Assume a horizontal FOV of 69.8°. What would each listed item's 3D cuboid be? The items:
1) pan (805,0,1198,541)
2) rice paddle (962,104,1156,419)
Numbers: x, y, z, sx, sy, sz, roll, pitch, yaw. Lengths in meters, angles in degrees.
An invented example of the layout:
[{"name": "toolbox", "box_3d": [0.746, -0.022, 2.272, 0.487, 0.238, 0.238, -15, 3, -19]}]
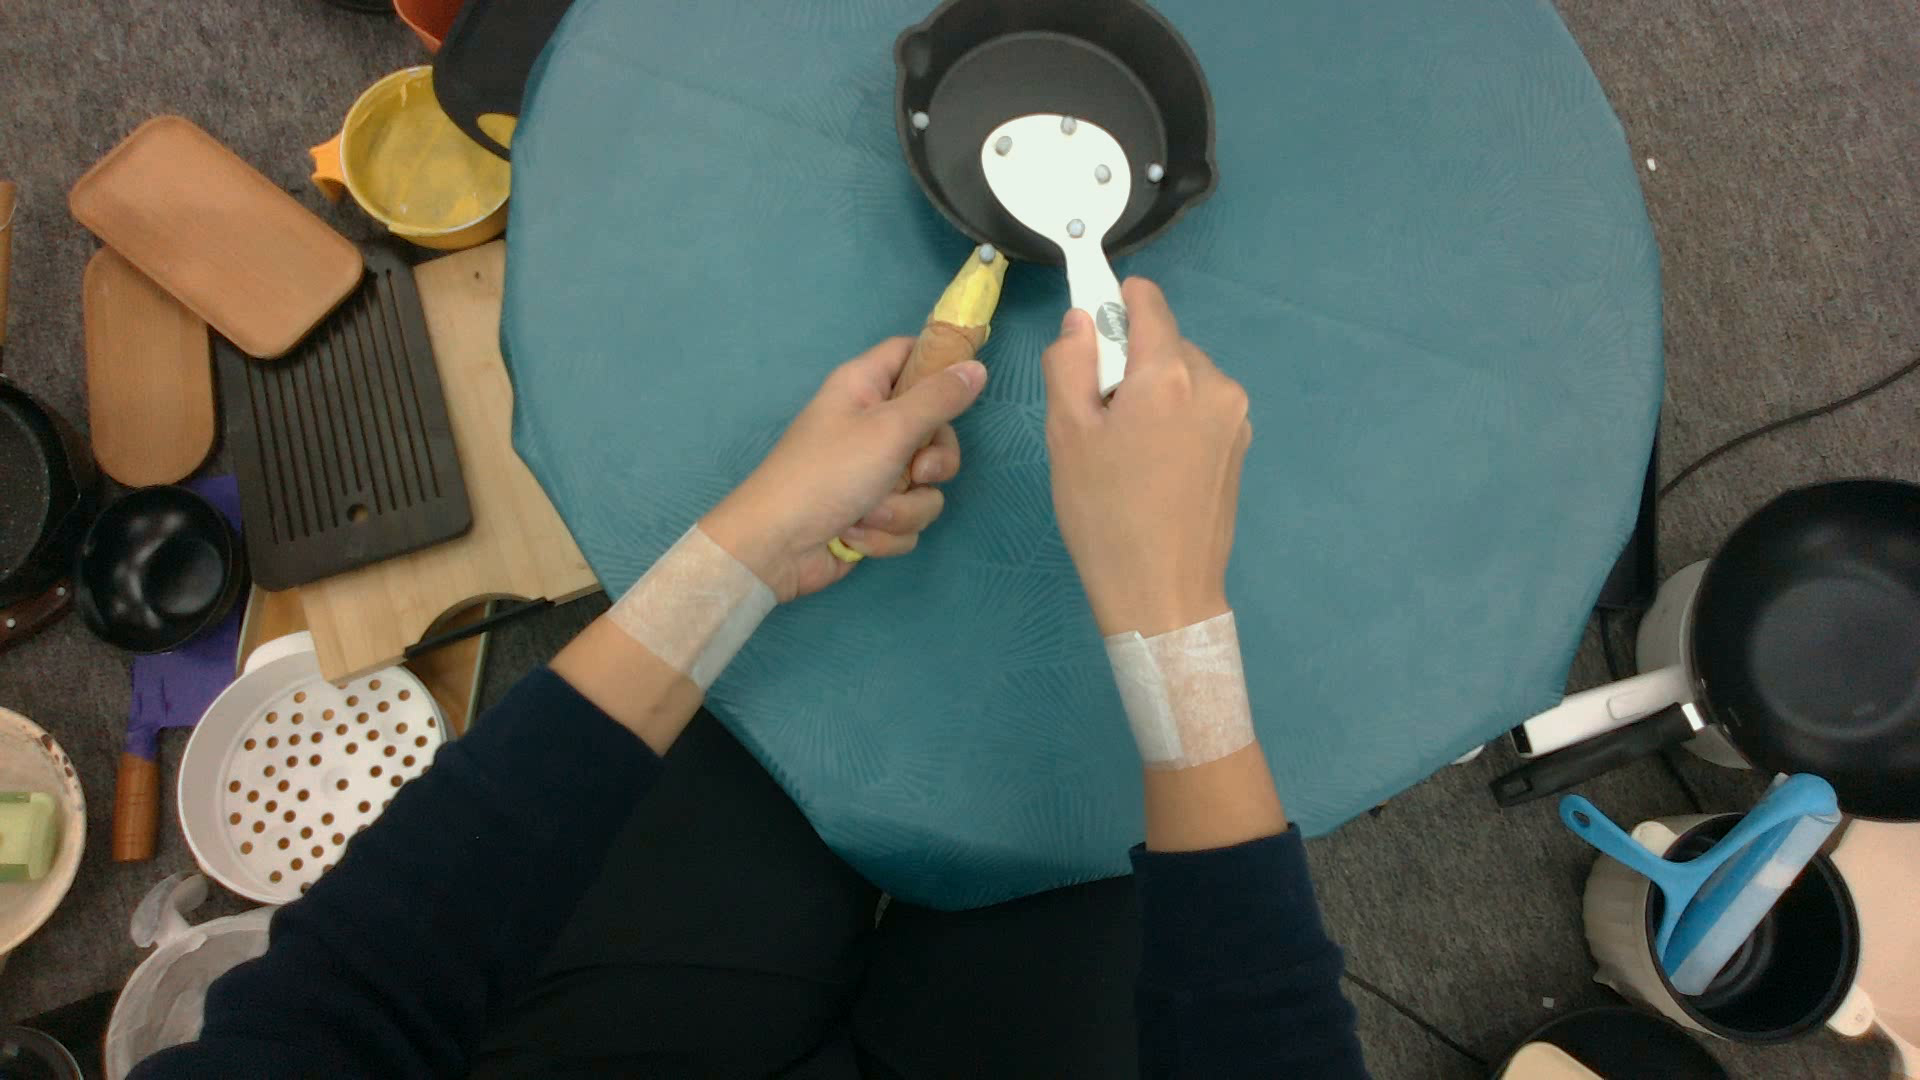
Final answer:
[{"name": "pan", "box_3d": [0.002, -0.140, 0.652, 0.169, 0.049, 0.325, 26, 73, -1]}, {"name": "rice paddle", "box_3d": [0.046, -0.138, 0.616, 0.069, 0.029, 0.206, -5, 52, -9]}]
